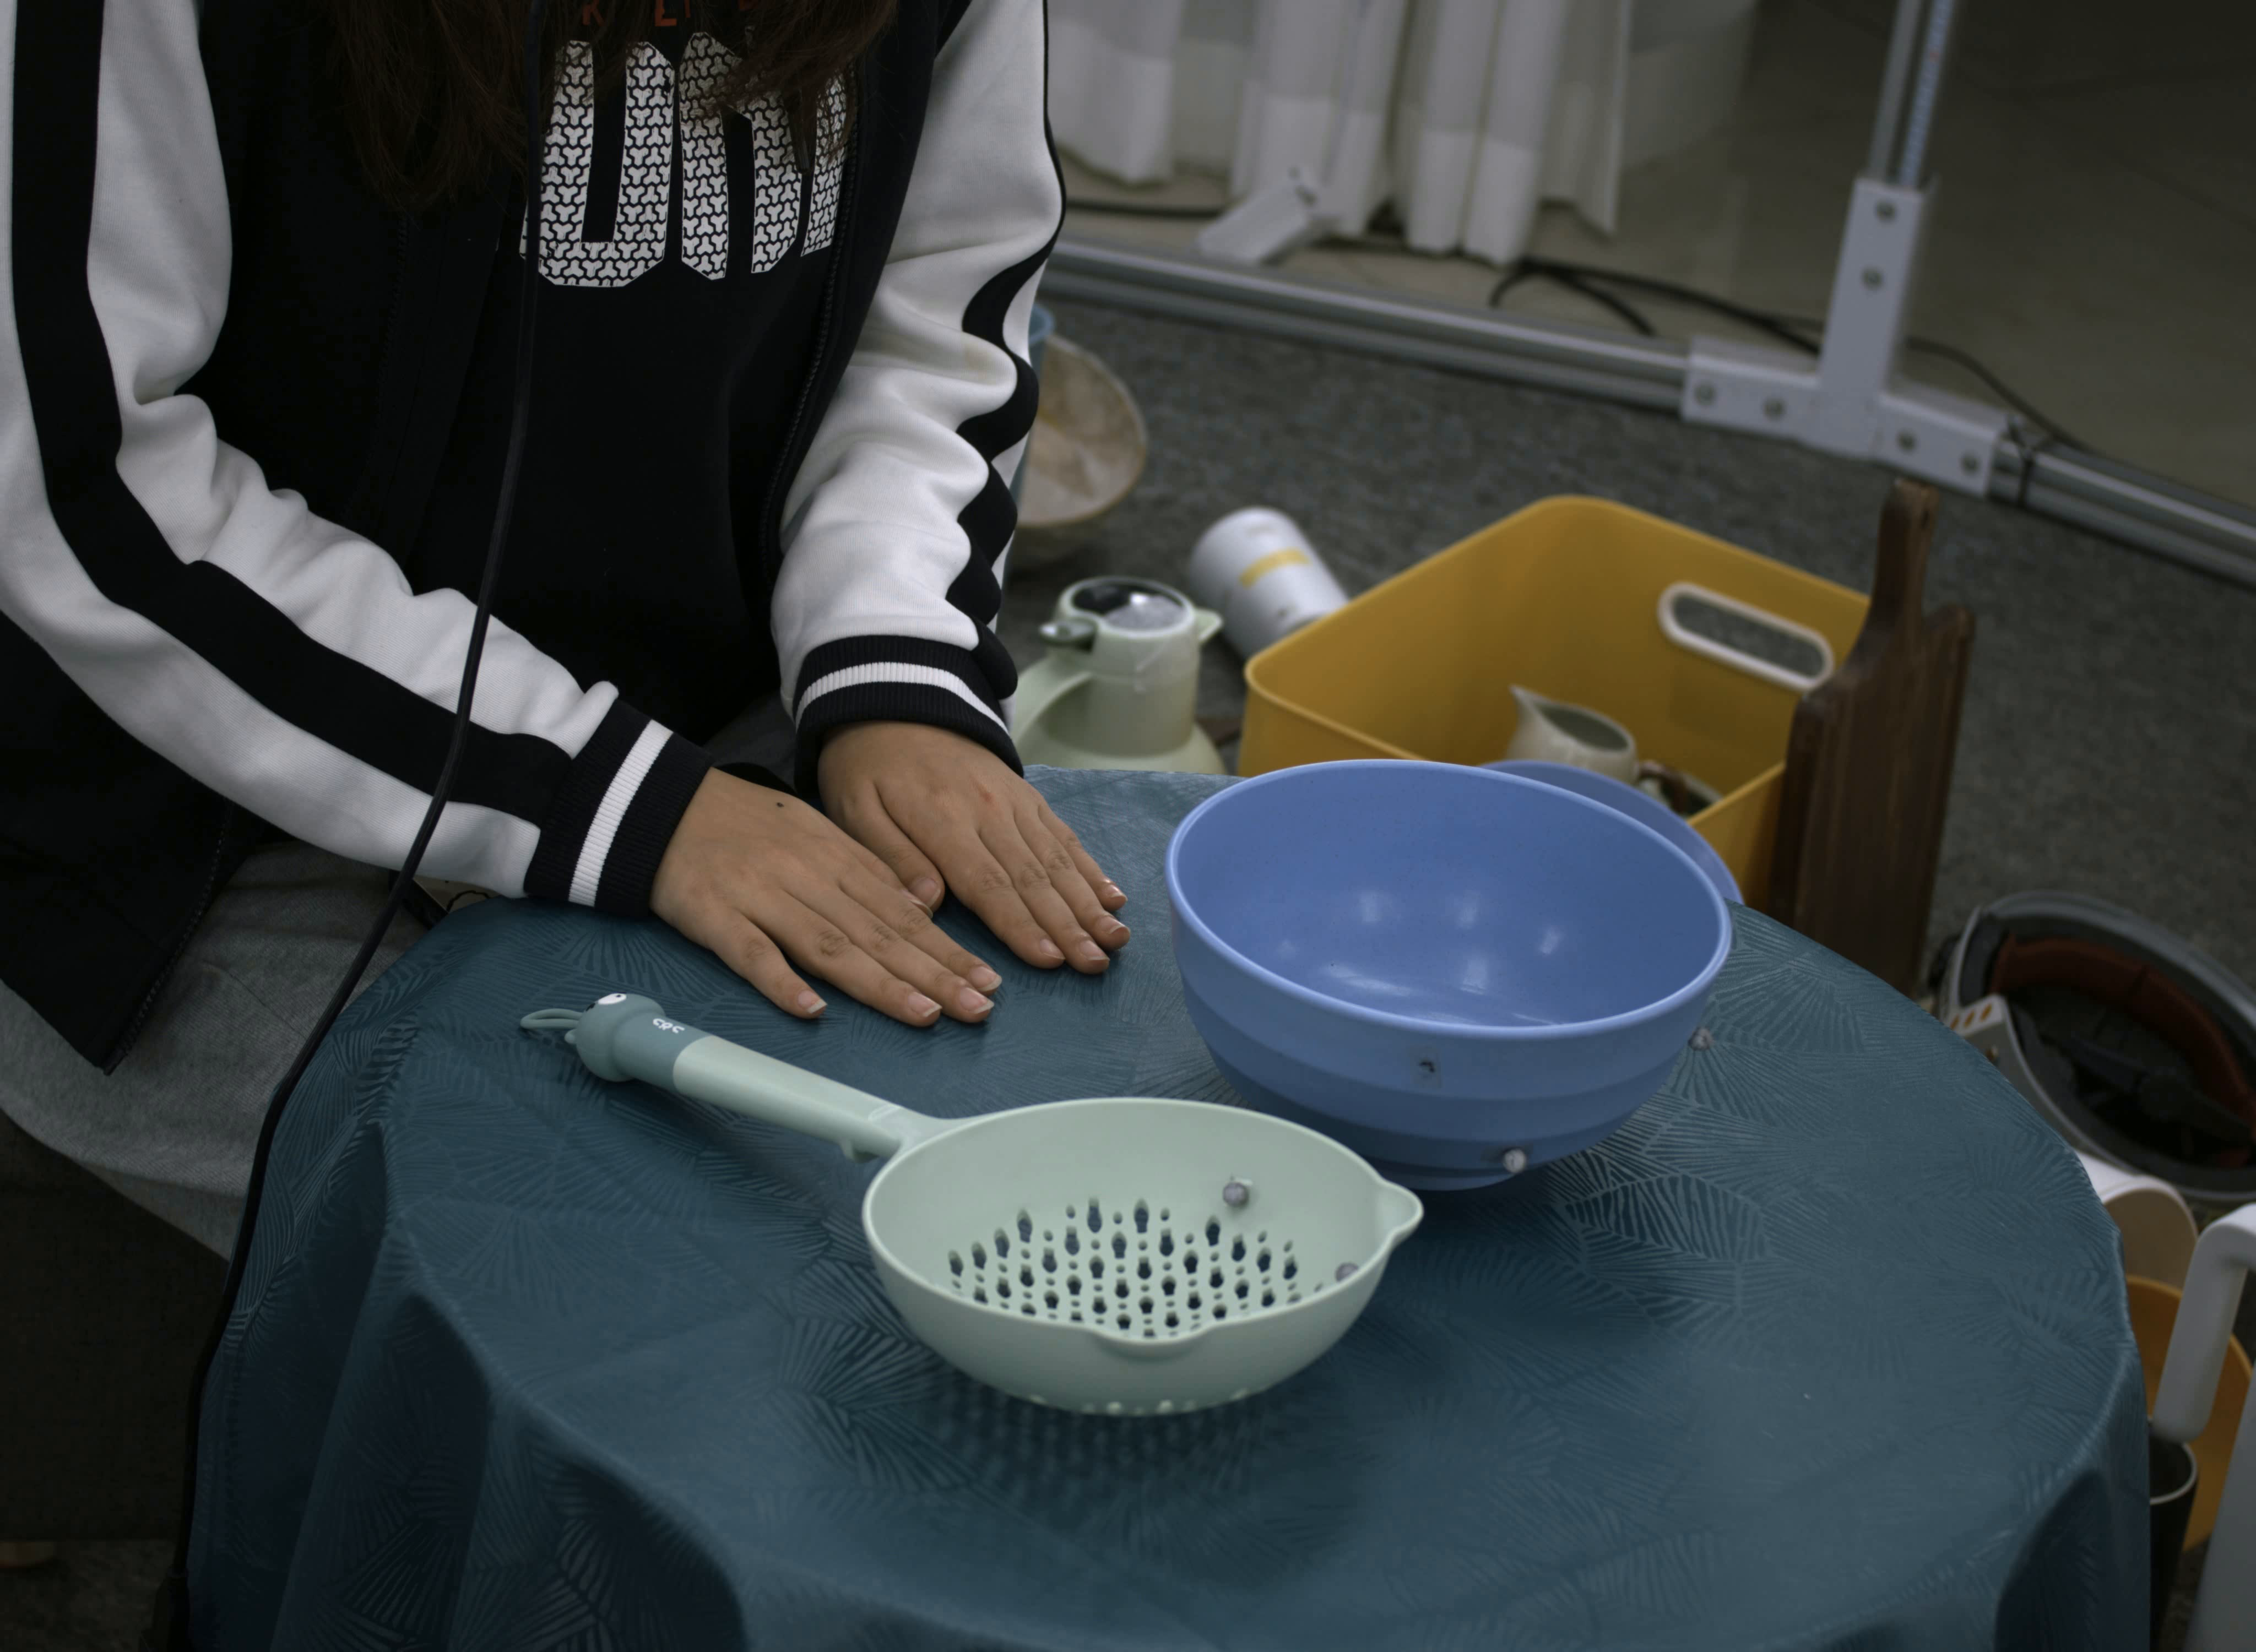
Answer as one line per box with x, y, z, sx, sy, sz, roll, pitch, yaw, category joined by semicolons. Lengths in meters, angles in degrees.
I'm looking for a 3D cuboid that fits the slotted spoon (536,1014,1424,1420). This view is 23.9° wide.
-0.071;0.111;1.747;0.361;0.075;0.168;26;31;36;slotted spoon

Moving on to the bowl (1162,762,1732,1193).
0.105;0.063;1.840;0.196;0.095;0.197;5;27;-3;bowl
